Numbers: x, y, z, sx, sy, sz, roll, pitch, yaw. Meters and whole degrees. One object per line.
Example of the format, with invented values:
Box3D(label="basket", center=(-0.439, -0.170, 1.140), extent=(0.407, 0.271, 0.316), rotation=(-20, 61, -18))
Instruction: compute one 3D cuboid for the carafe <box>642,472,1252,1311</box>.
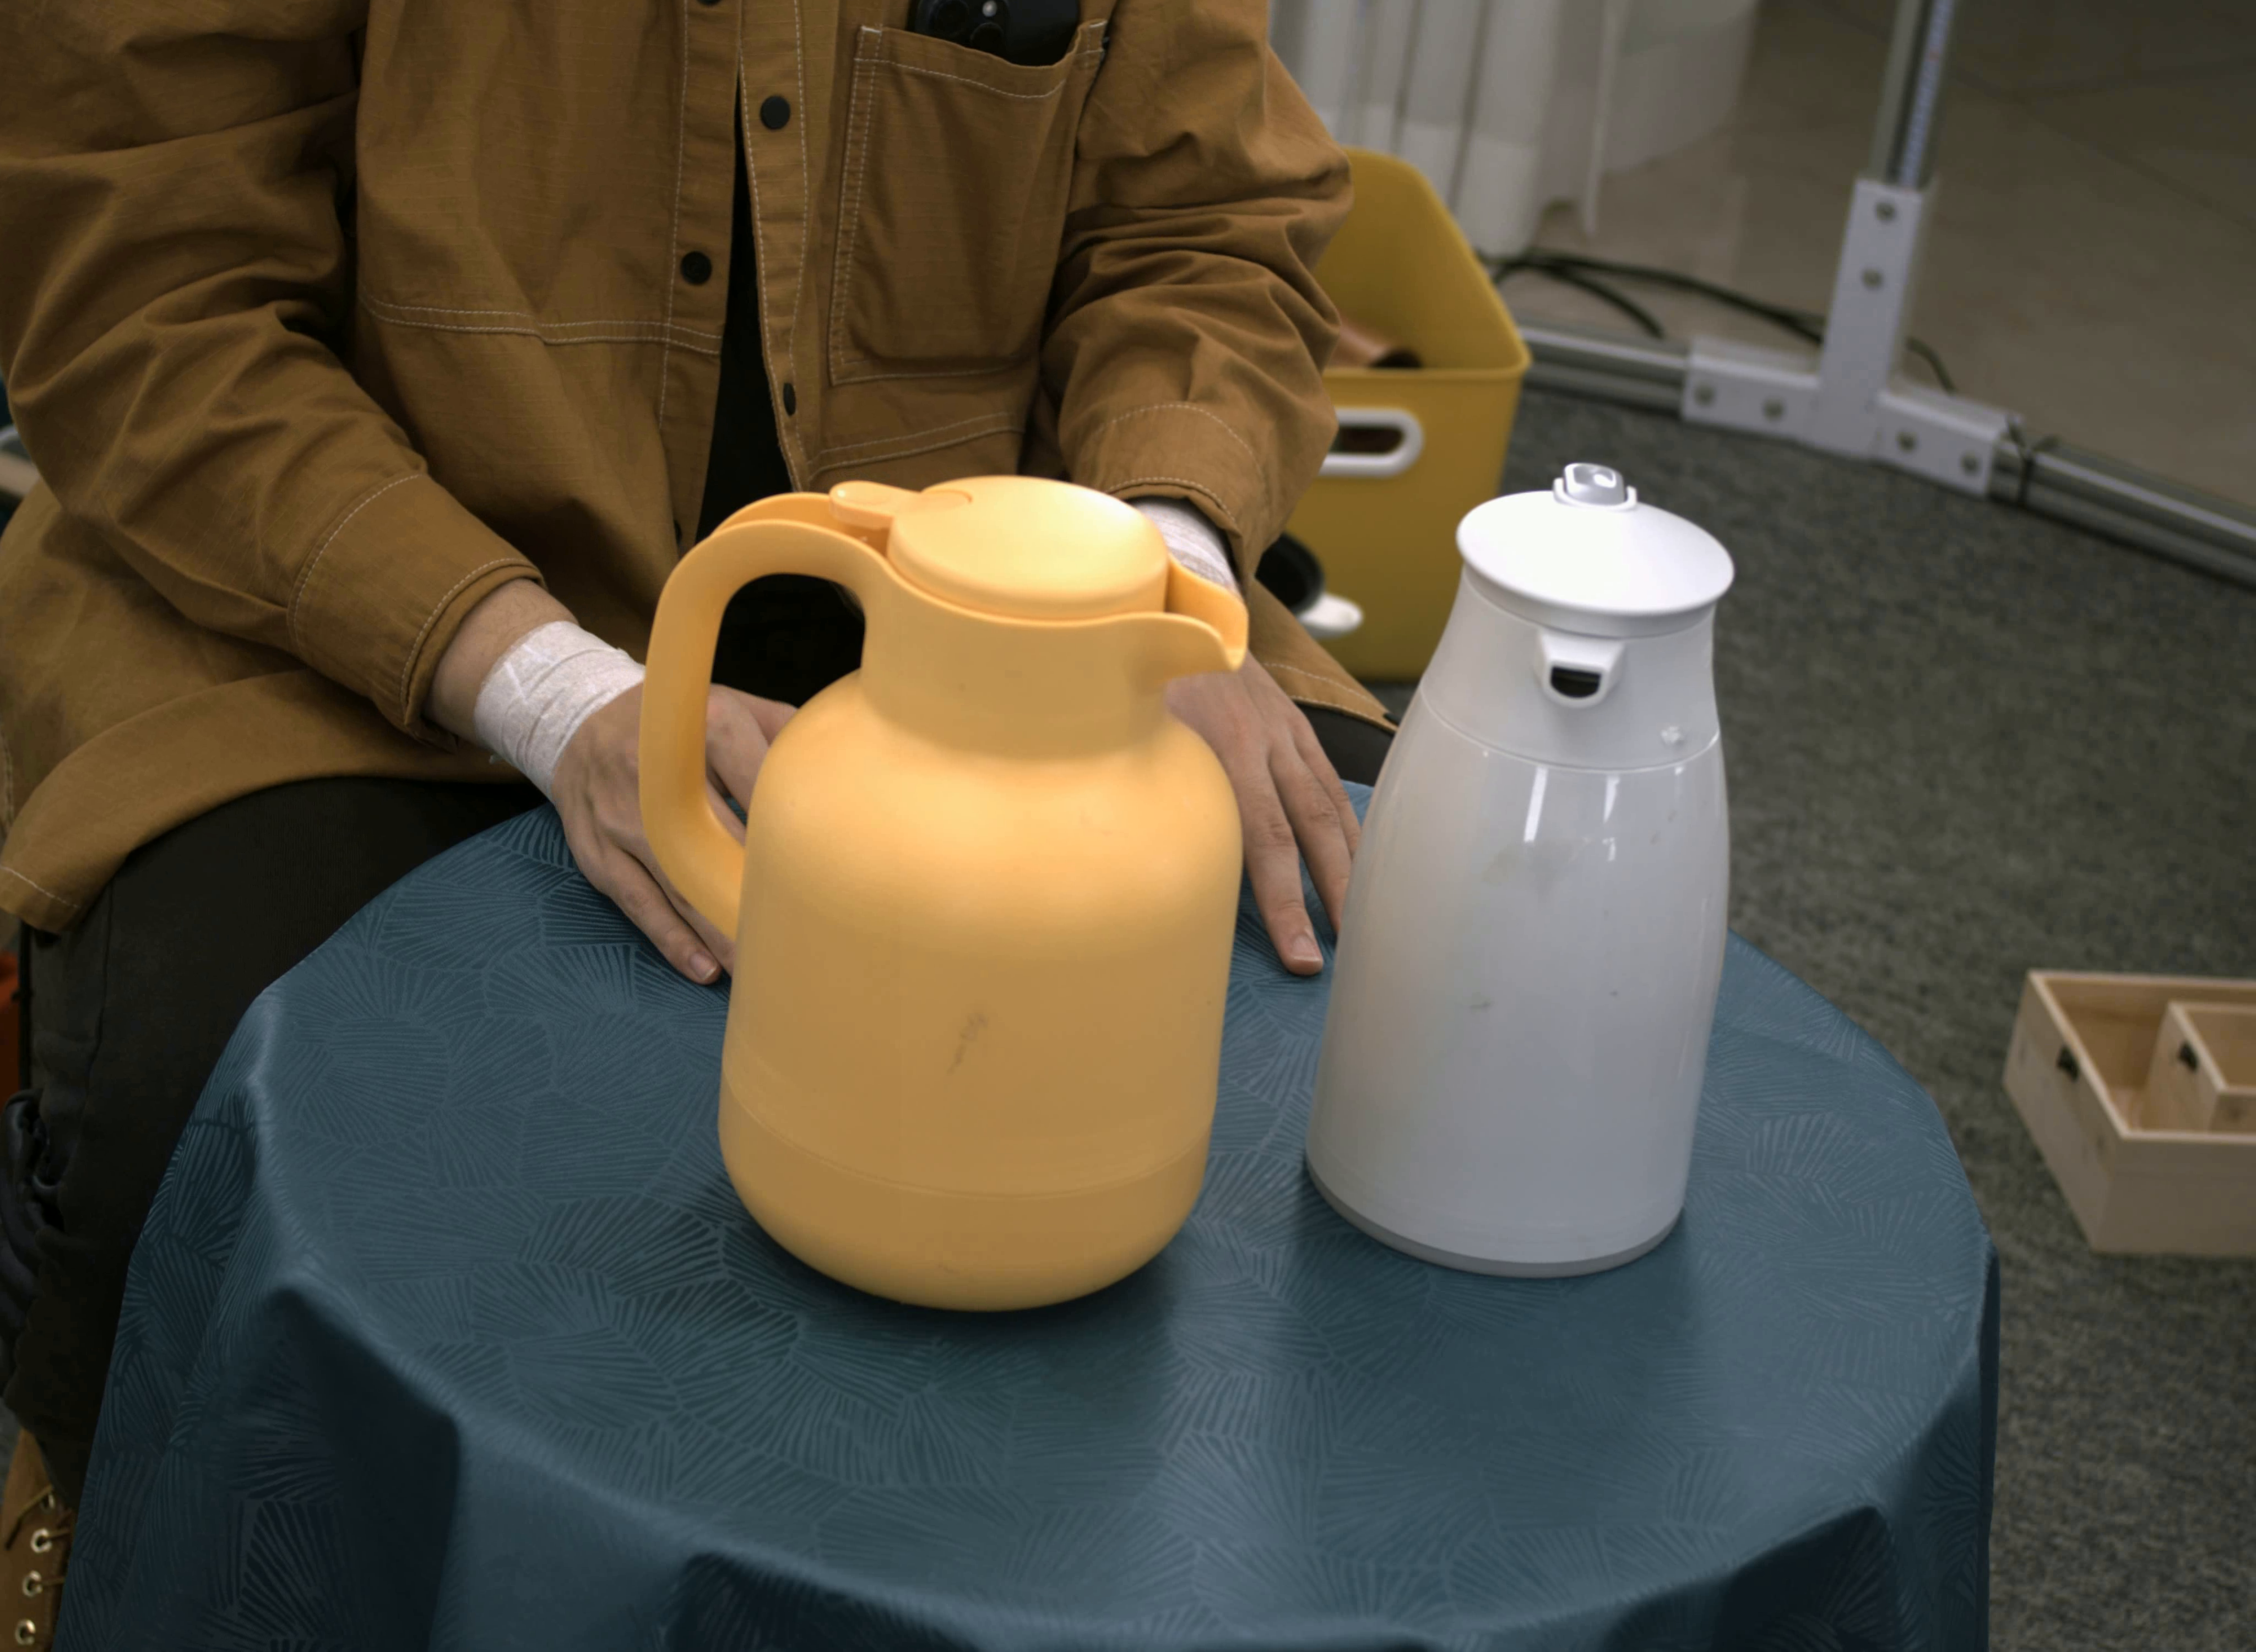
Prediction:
Box3D(label="carafe", center=(-0.063, 0.011, 1.727), extent=(0.203, 0.260, 0.163), rotation=(17, 26, 16))

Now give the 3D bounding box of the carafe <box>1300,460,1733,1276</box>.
Box3D(label="carafe", center=(0.139, 0.003, 1.800), extent=(0.132, 0.248, 0.168), rotation=(9, 26, 3))
